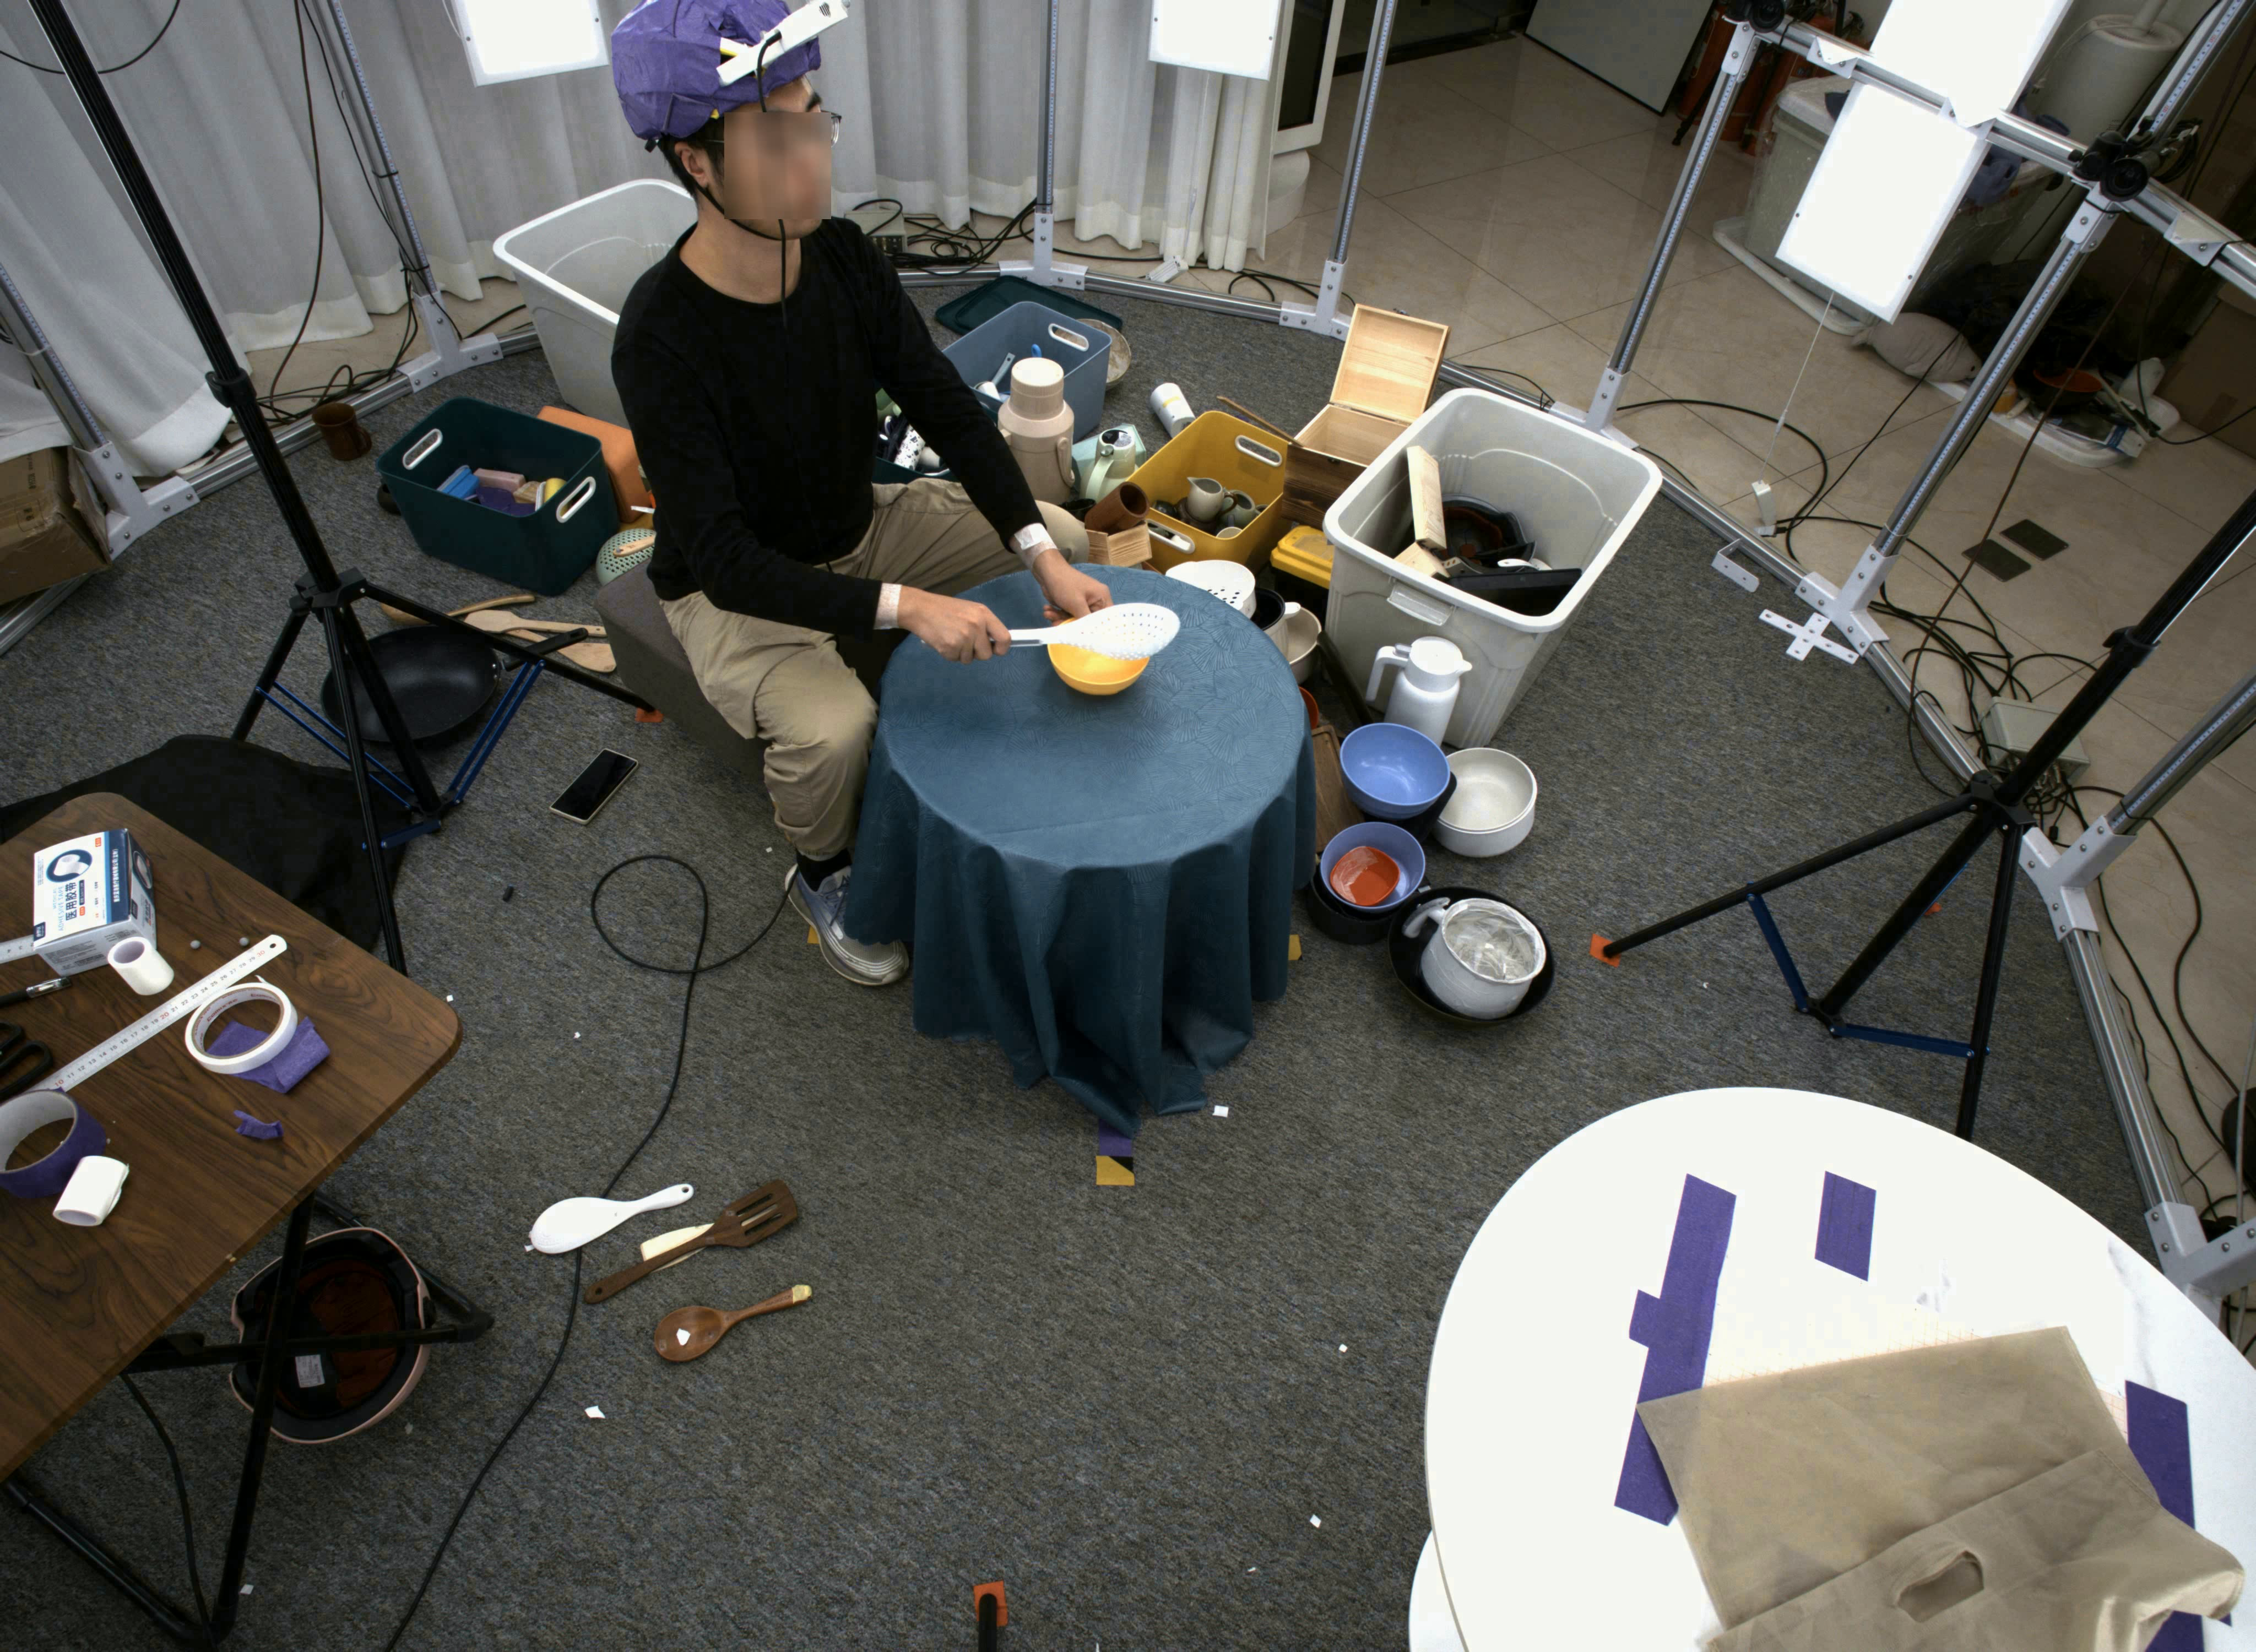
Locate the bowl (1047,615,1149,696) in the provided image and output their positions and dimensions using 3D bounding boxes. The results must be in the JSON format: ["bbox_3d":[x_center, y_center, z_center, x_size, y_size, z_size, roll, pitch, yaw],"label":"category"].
[{"bbox_3d":[-0.045,-0.232,1.831,0.145,0.059,0.149,4,49,-5],"label":"bowl"}]

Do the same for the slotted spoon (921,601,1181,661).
[{"bbox_3d":[-0.102,-0.258,1.744,0.349,0.133,0.046,1,68,-2],"label":"slotted spoon"}]
